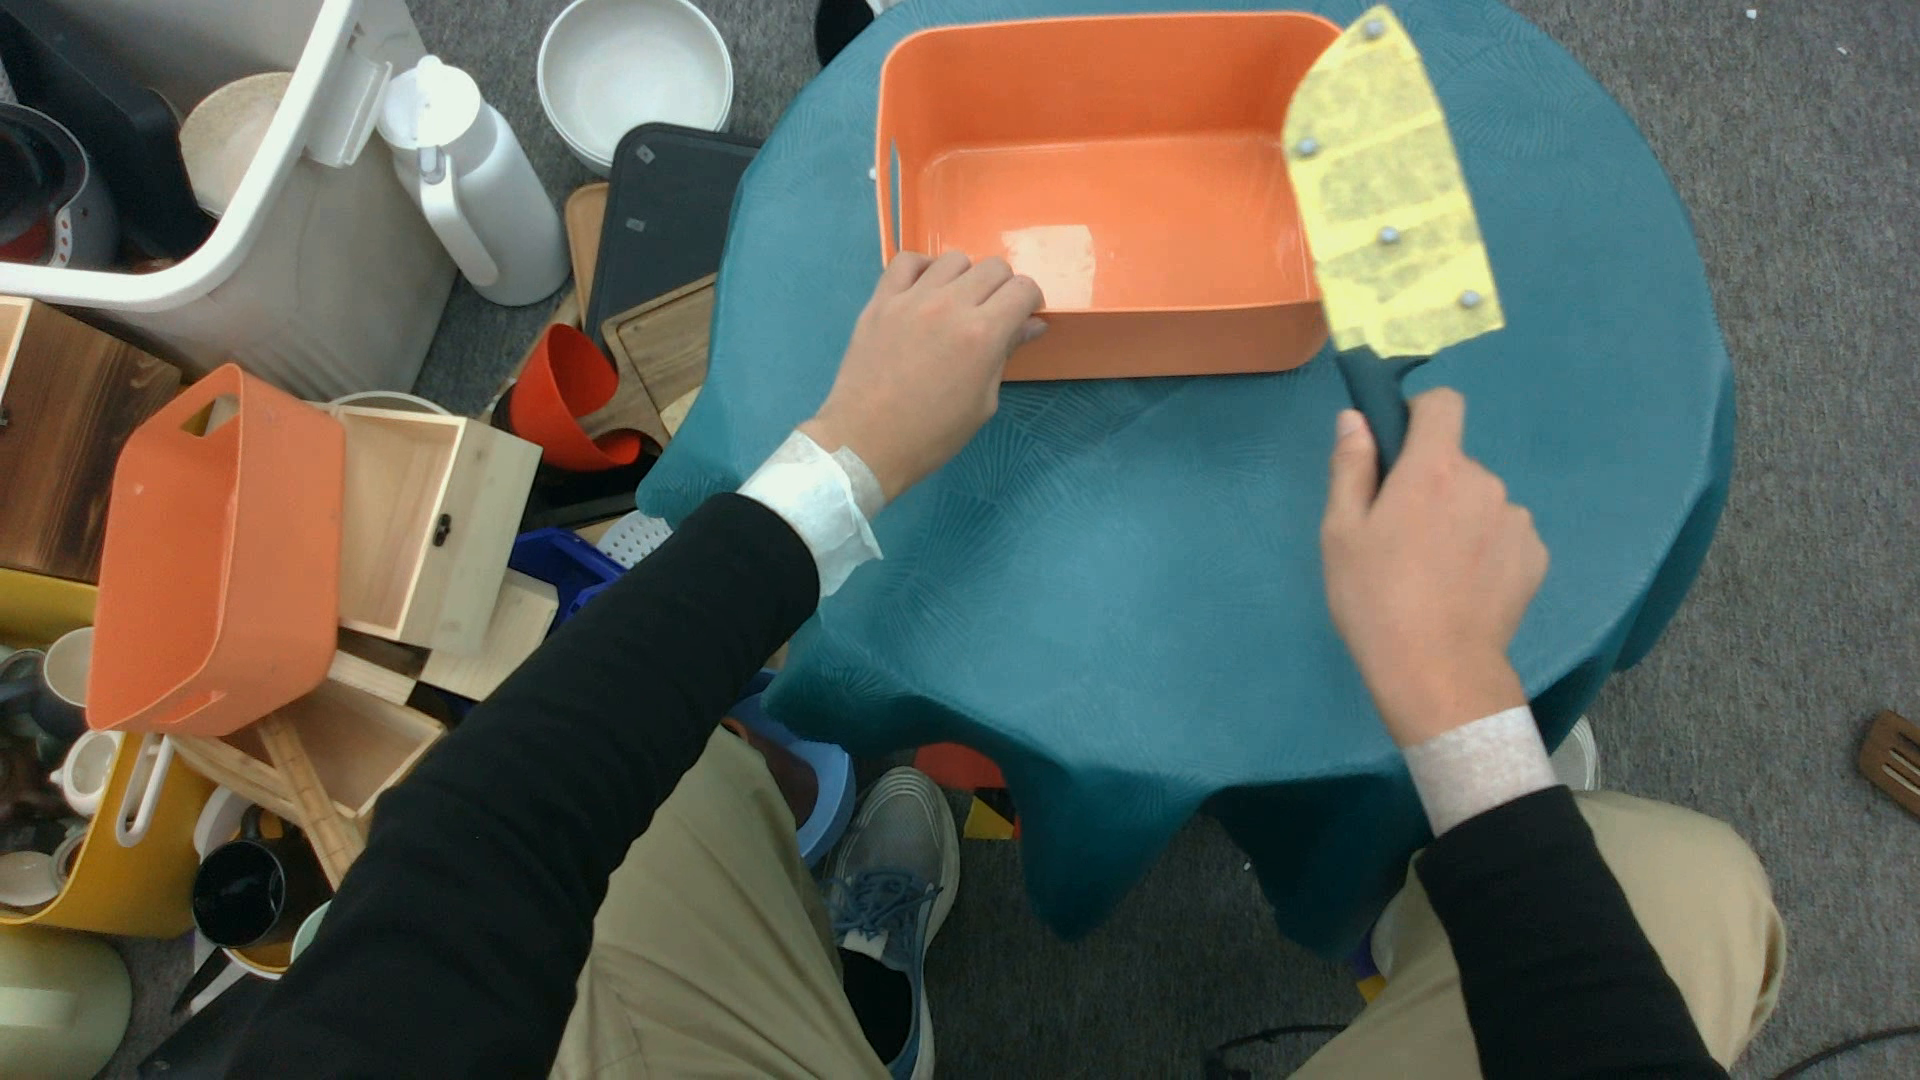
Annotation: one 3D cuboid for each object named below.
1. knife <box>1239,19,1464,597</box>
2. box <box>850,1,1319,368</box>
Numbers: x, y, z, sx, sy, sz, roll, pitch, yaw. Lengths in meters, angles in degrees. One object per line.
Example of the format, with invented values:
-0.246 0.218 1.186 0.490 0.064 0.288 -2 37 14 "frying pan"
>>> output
0.195 -0.117 0.657 0.081 0.027 0.290 -16 80 24 "knife"
0.077 -0.199 0.800 0.273 0.102 0.200 -2 67 1 "box"
